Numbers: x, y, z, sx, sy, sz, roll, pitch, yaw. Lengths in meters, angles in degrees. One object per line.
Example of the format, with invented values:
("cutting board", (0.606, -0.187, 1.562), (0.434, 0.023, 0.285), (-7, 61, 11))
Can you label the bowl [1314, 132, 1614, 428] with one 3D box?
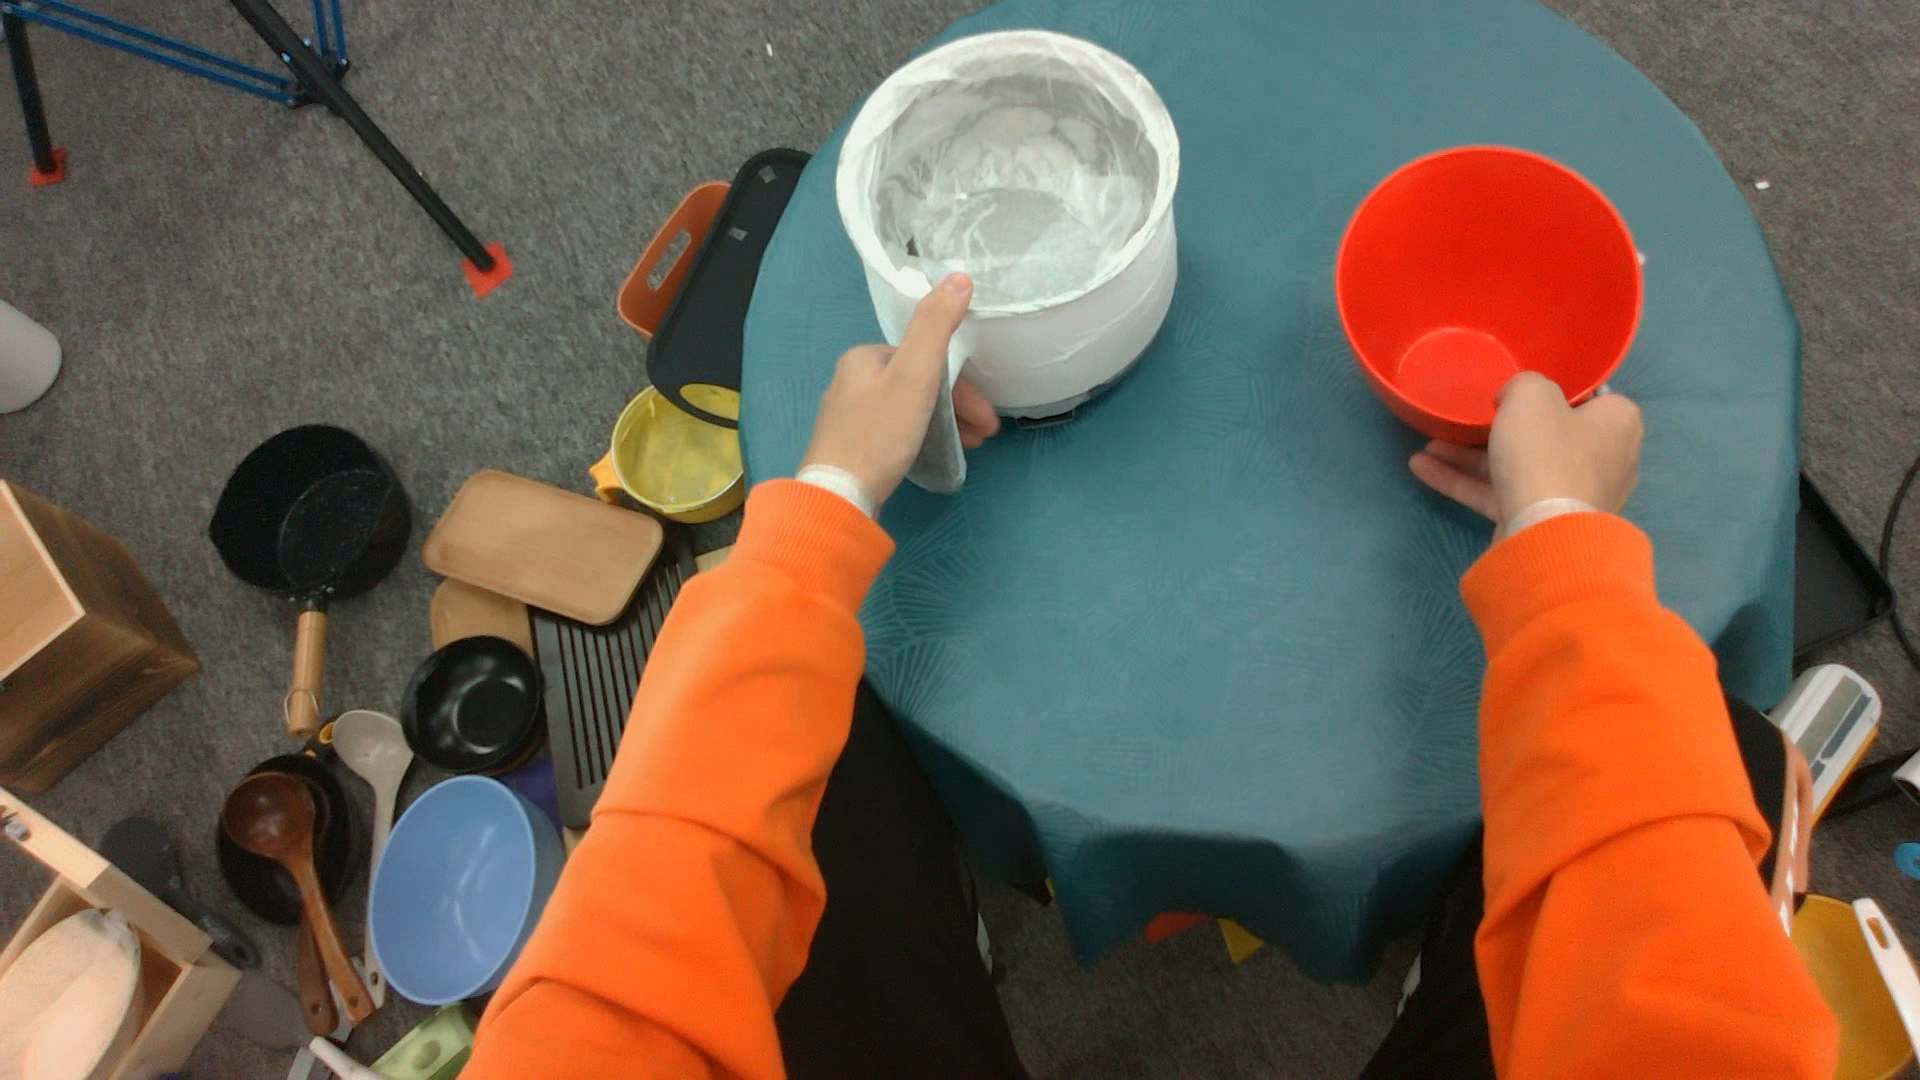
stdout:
("bowl", (0.260, -0.125, 0.736), (0.148, 0.104, 0.148), (-2, 70, 7))

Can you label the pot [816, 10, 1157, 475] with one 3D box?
("pot", (0.011, -0.155, 0.757), (0.178, 0.136, 0.234), (17, 71, 14))
